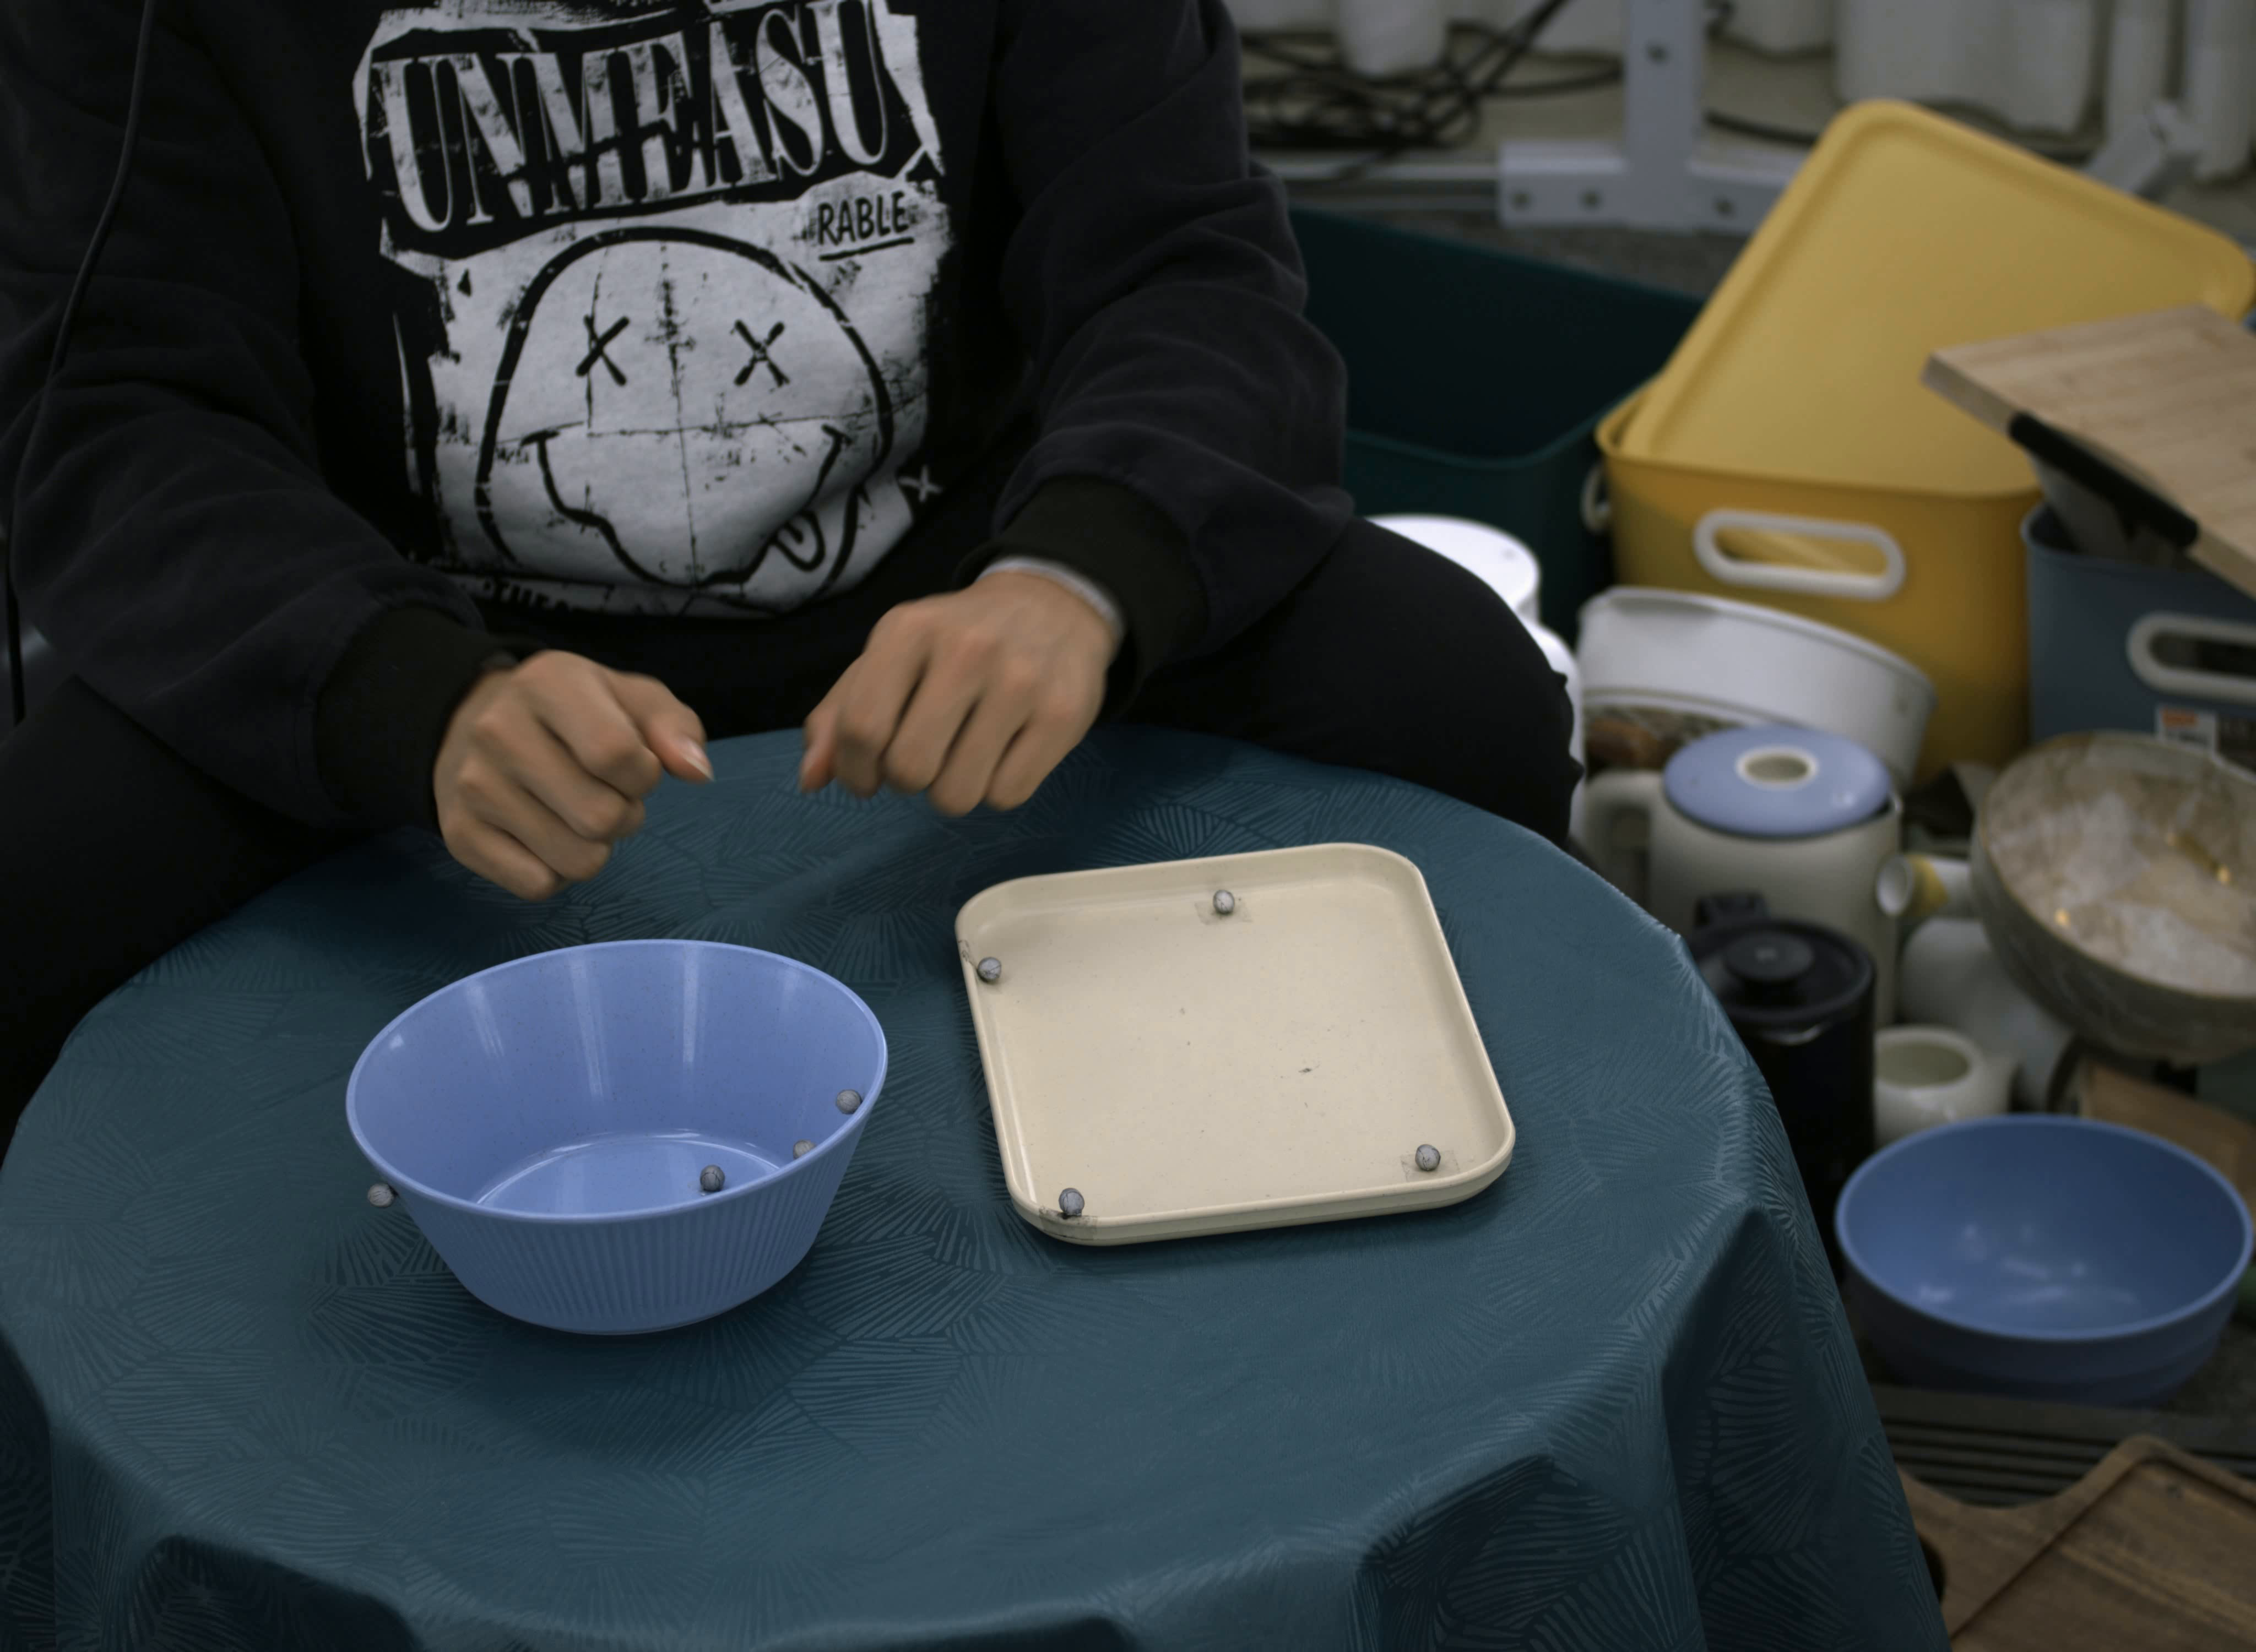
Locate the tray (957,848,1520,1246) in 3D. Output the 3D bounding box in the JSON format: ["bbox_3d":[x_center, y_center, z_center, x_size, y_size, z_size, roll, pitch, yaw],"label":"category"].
[{"bbox_3d":[0.035,0.075,1.929,0.171,0.017,0.243,-5,27,-5],"label":"tray"}]

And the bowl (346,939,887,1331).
[{"bbox_3d":[-0.164,0.107,1.829,0.175,0.069,0.179,-2,28,1],"label":"bowl"}]
